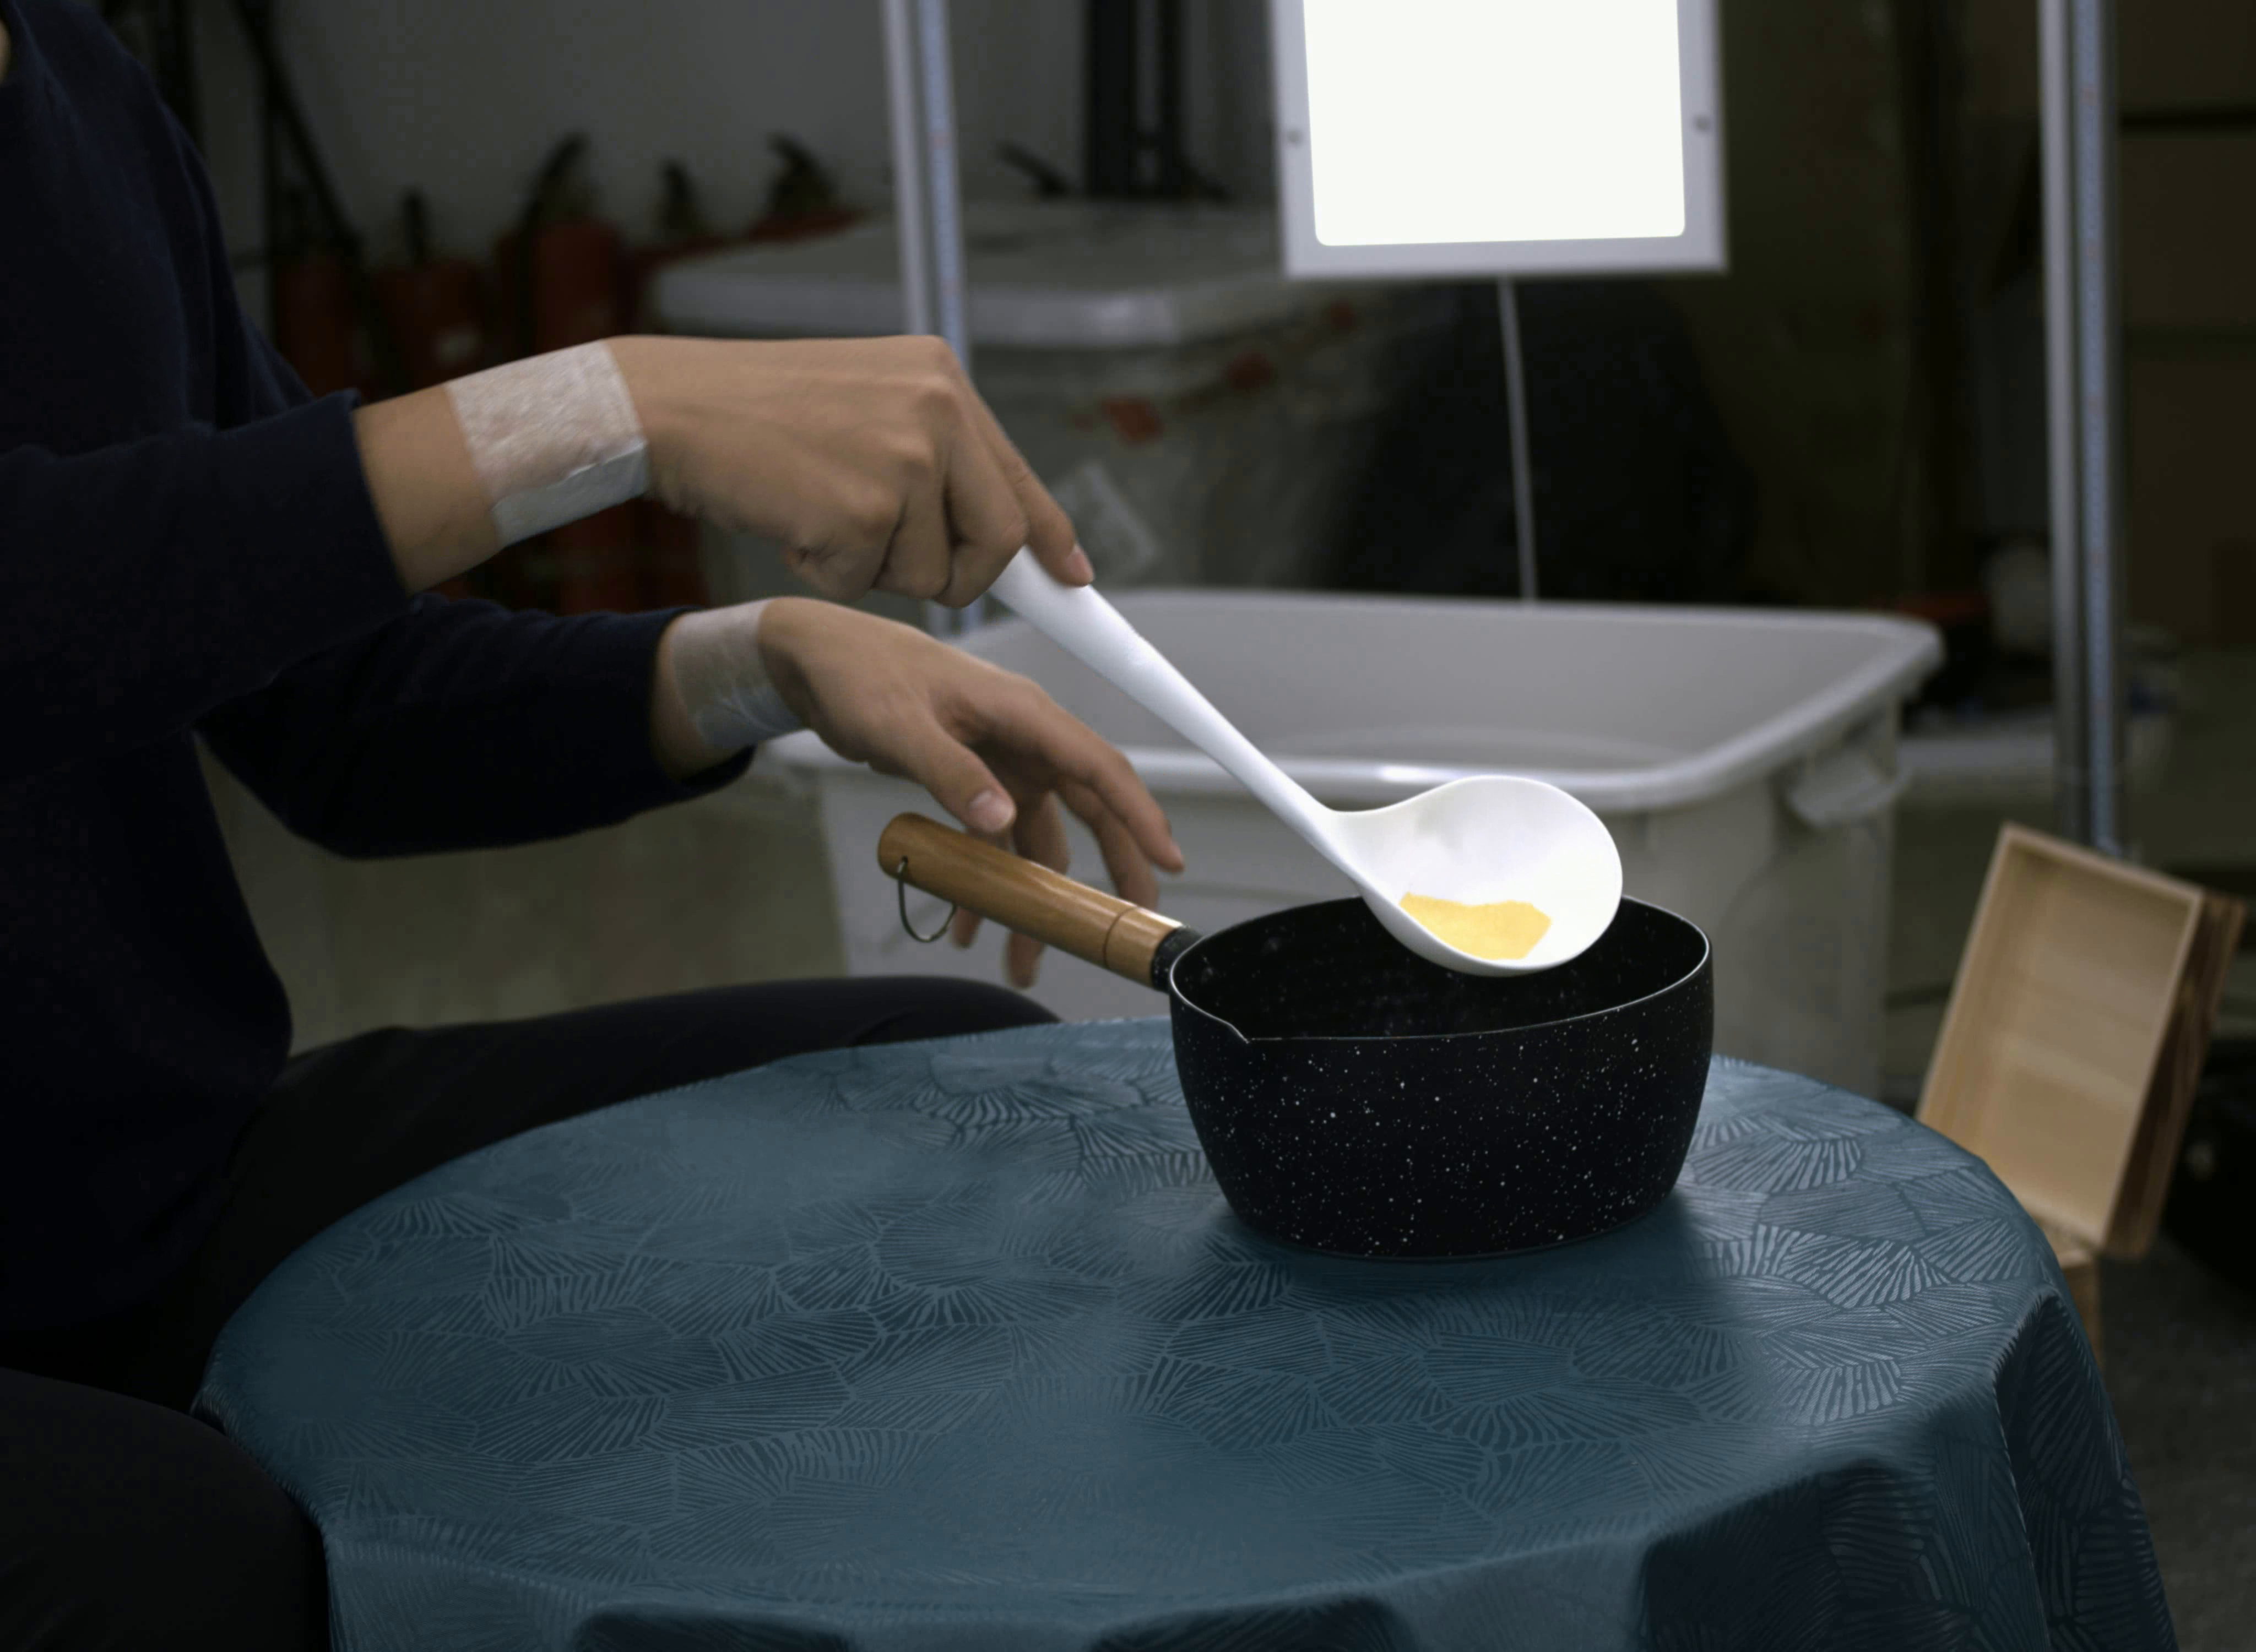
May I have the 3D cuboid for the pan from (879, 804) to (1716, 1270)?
[{"bbox_3d":[0.045,0.065,1.903,0.350,0.108,0.202,9,20,40],"label":"pan"}]

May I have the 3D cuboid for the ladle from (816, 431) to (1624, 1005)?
[{"bbox_3d":[0.032,-0.038,1.761,0.071,0.289,0.089,-31,31,45],"label":"ladle"}]
